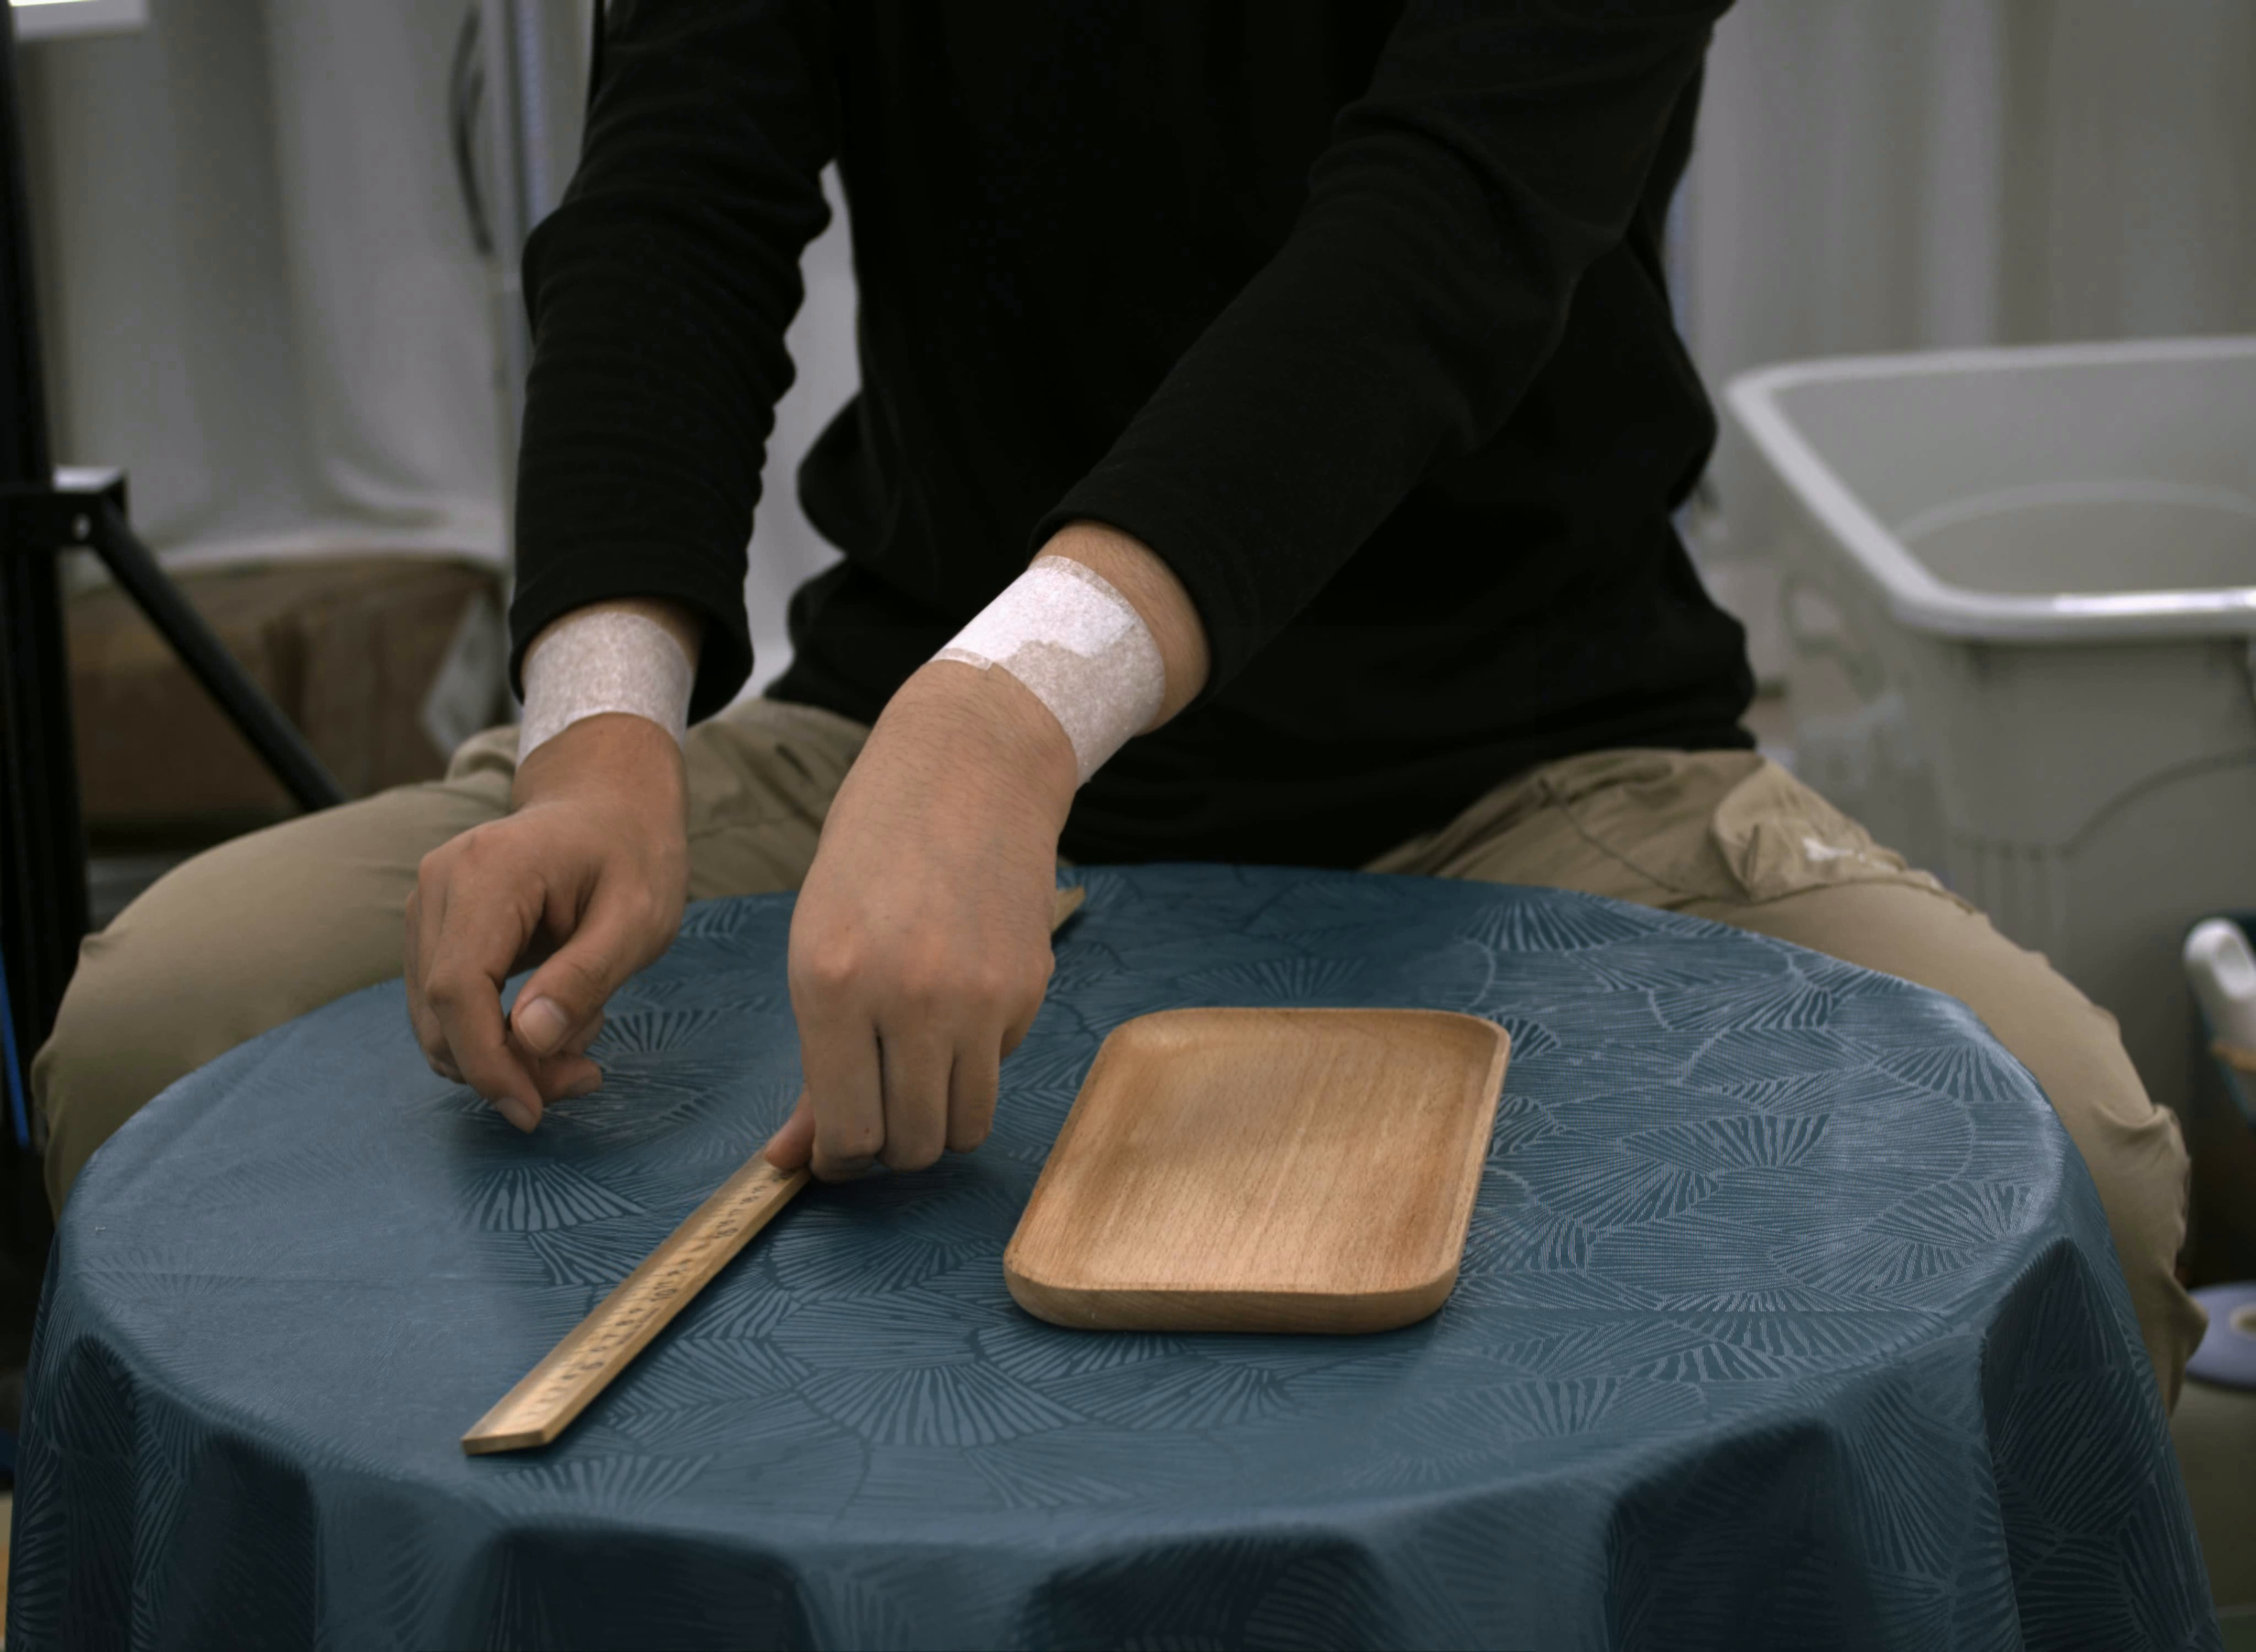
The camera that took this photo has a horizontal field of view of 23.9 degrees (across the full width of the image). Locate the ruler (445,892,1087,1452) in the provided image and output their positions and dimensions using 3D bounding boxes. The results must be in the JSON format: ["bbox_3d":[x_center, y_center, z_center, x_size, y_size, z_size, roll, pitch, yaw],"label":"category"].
[{"bbox_3d":[-0.095,0.093,1.609,0.027,0.006,0.495,-8,13,19],"label":"ruler"}]

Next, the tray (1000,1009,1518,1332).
[{"bbox_3d":[0.043,0.098,1.554,0.131,0.023,0.249,3,15,9],"label":"tray"}]
